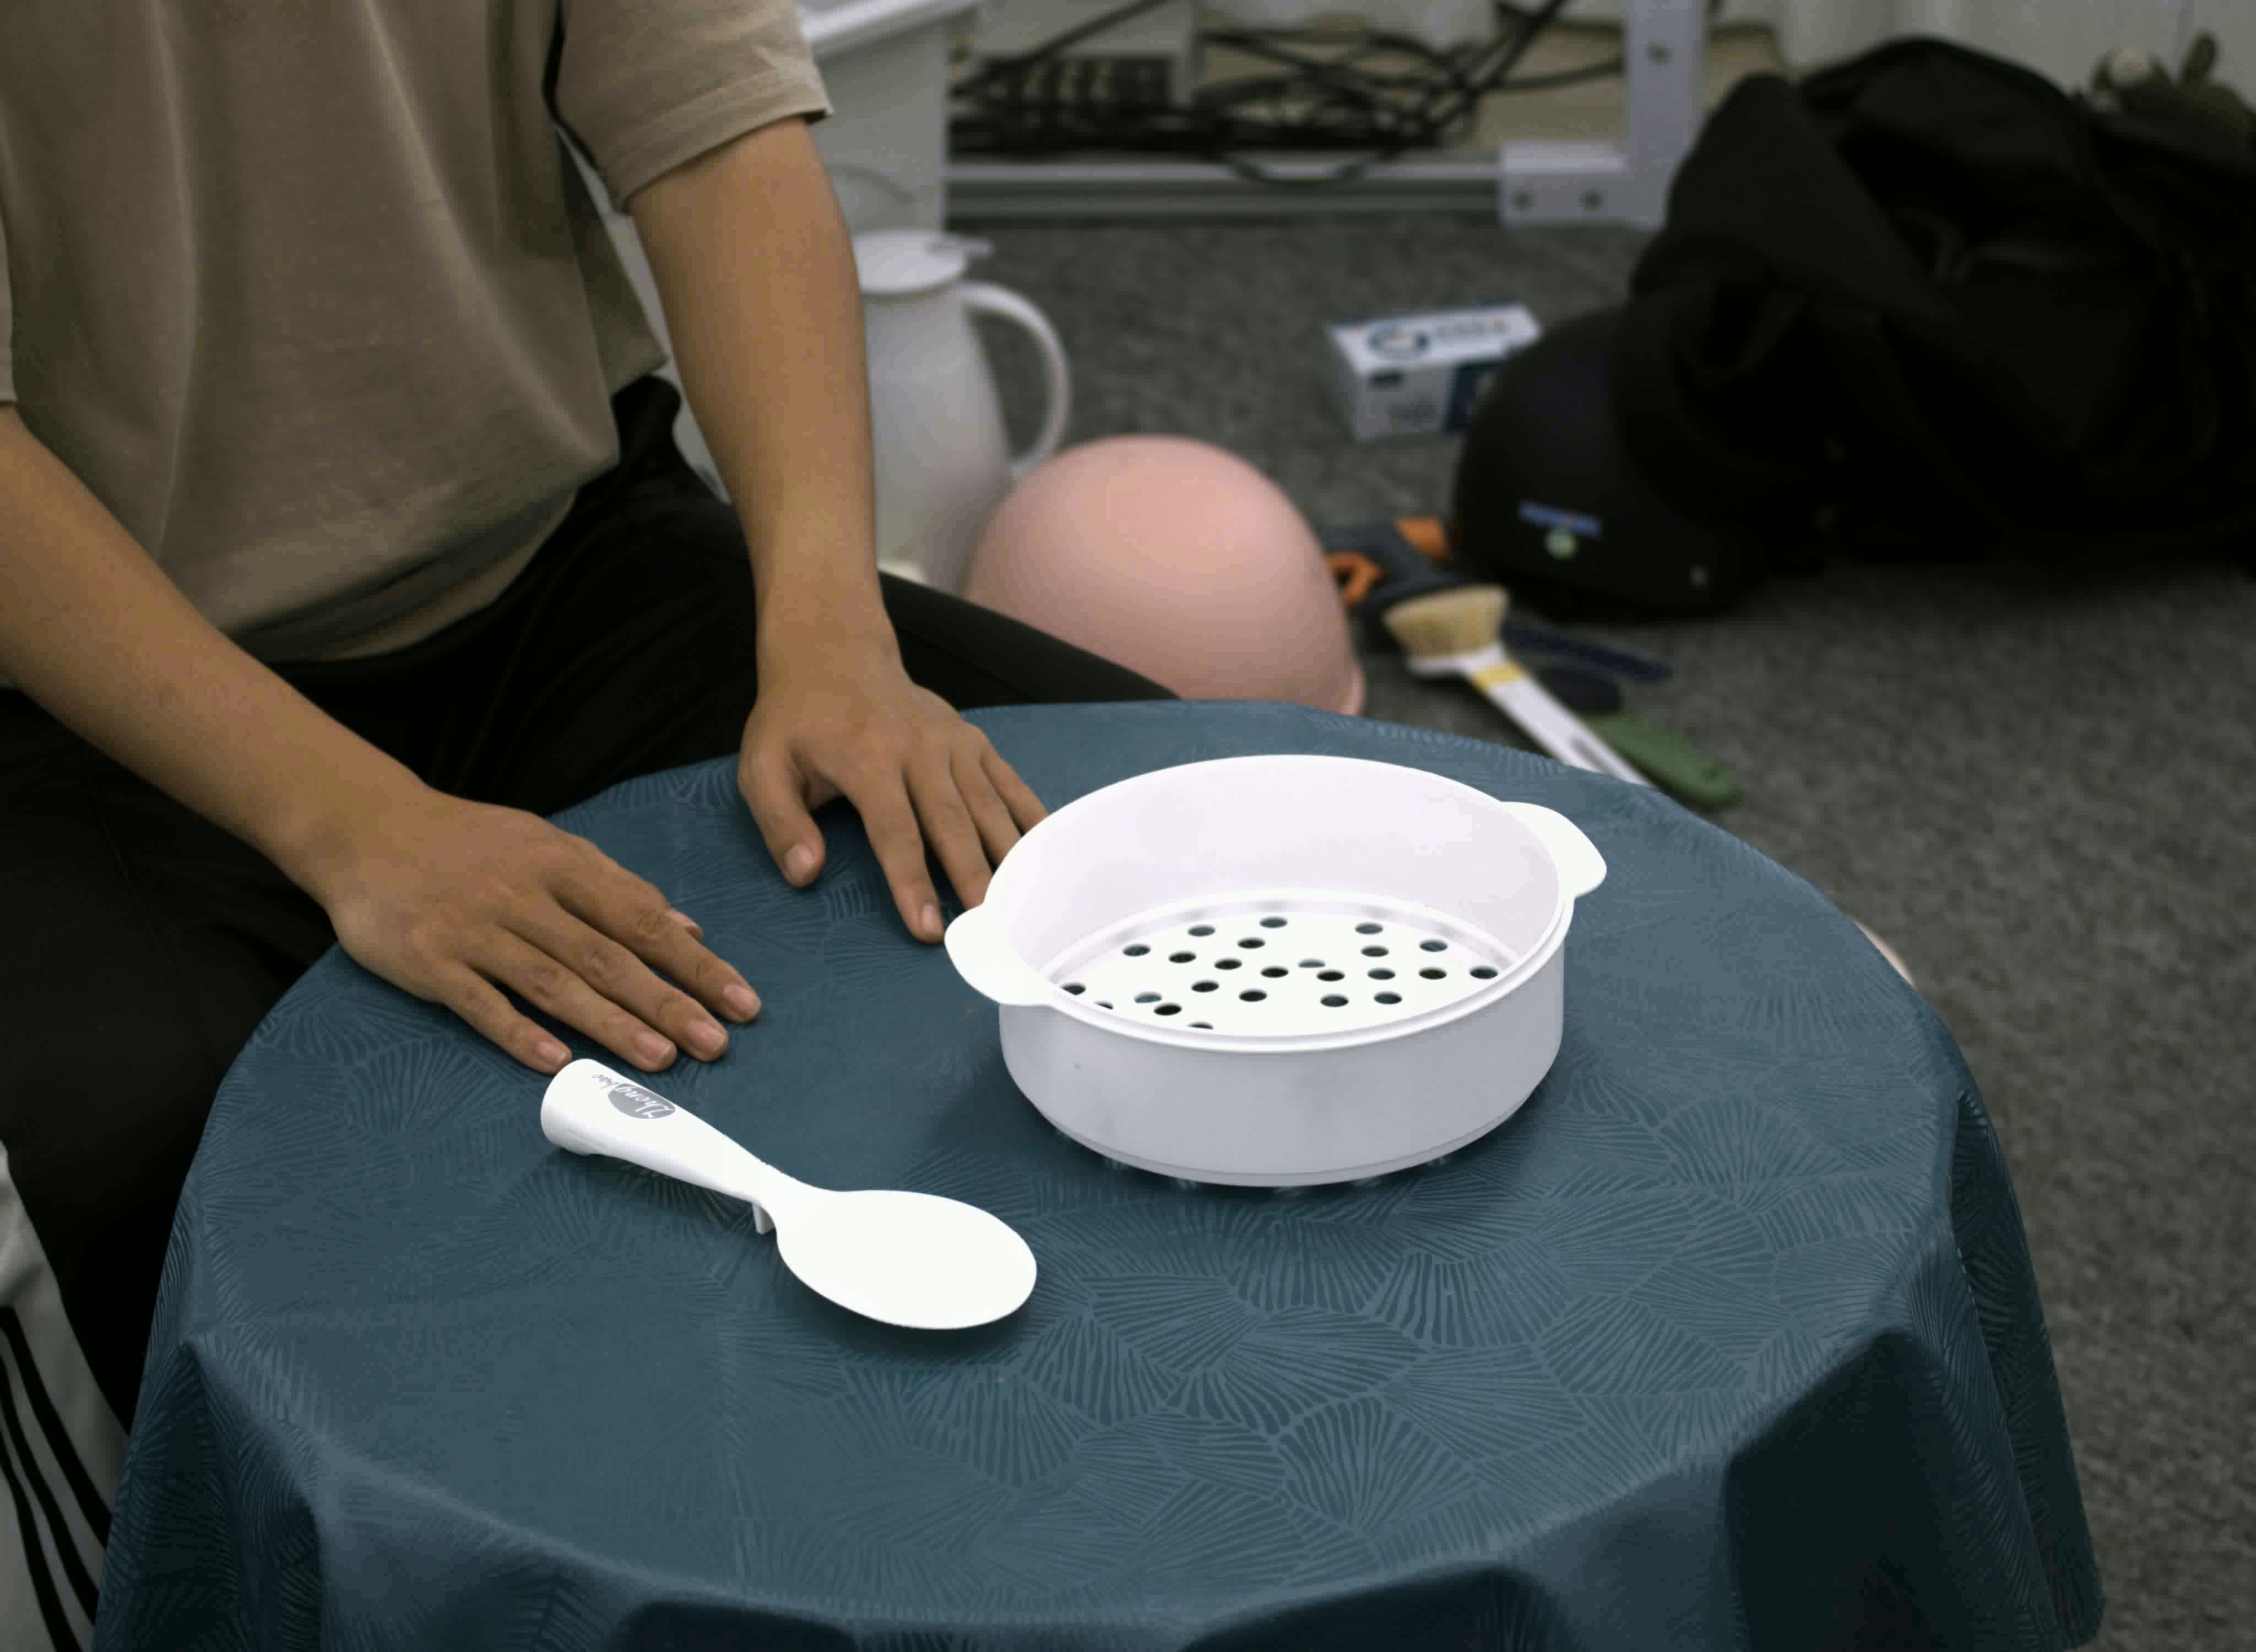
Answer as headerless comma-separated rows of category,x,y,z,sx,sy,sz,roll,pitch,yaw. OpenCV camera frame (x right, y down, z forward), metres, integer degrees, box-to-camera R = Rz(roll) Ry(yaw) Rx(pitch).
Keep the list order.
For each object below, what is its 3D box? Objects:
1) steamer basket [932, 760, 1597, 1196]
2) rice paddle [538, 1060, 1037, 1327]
steamer basket,0.047,0.053,1.920,0.231,0.068,0.204,-9,29,-16
rice paddle,-0.113,0.121,1.839,0.204,0.029,0.070,21,37,37
